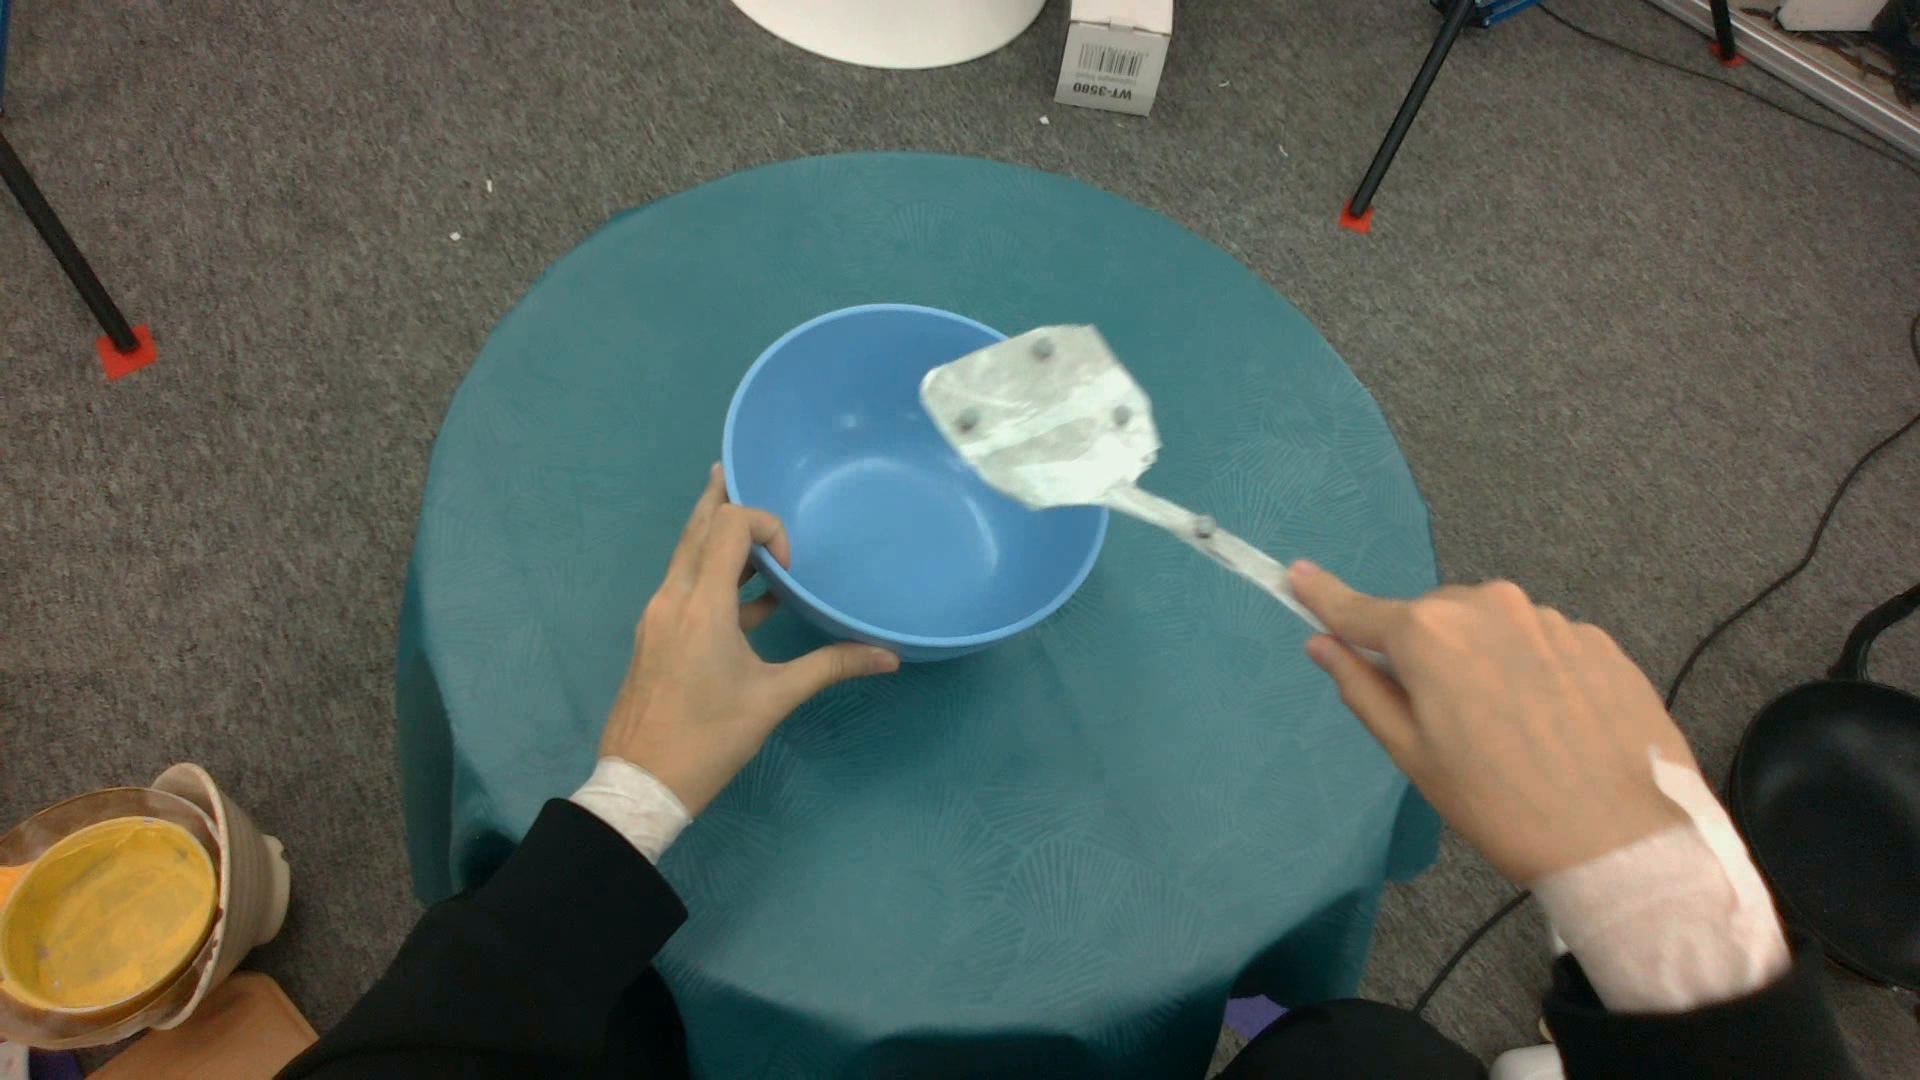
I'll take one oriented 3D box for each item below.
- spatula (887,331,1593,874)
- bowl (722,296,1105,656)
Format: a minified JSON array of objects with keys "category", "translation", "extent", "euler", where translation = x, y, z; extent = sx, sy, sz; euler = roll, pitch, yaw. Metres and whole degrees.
[{"category":"spatula","translation":[0.096,0.002,0.533],"extent":[0.099,0.044,0.365],"euler":[-21,35,-25]},{"category":"bowl","translation":[-0.032,-0.020,0.719],"extent":[0.196,0.095,0.197],"euler":[8,60,-14]}]
